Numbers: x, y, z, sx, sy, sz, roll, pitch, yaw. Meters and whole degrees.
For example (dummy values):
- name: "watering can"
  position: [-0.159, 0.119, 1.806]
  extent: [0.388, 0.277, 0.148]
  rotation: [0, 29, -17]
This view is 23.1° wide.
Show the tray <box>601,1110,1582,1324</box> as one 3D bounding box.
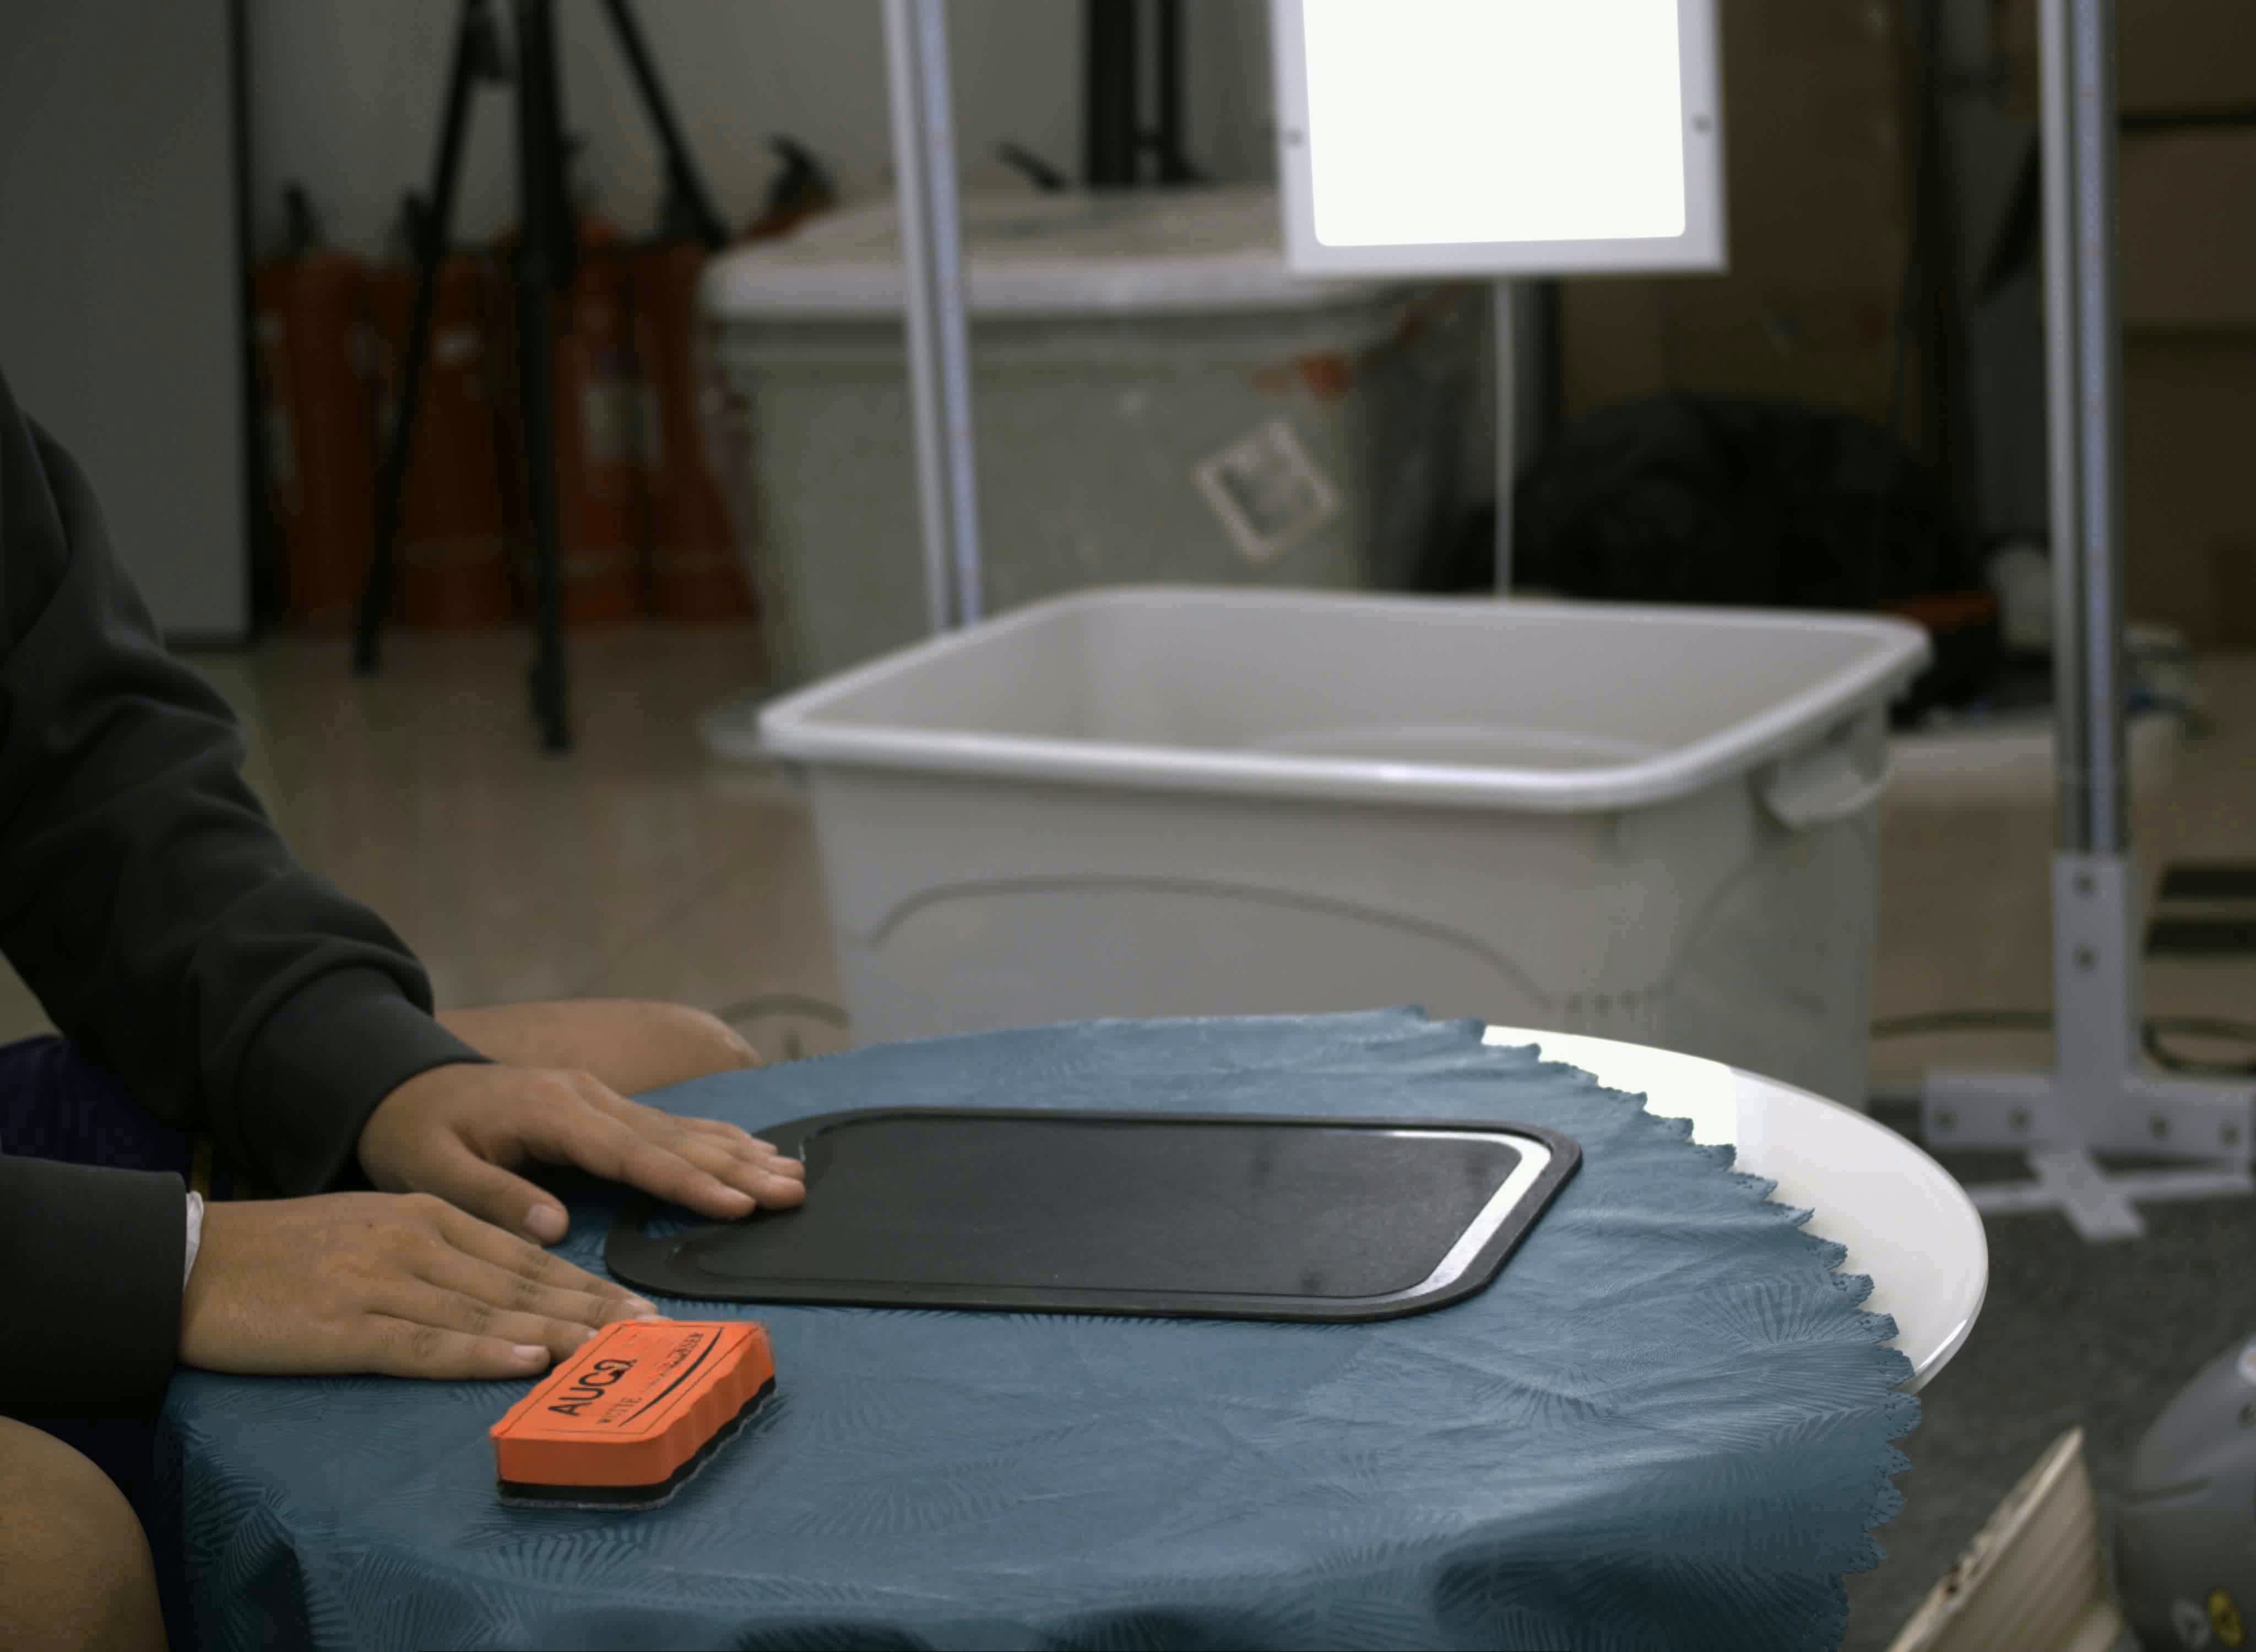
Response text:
- name: "tray"
  position: [-0.018, 0.129, 1.880]
  extent: [0.330, 0.010, 0.207]
  rotation: [0, 14, 21]

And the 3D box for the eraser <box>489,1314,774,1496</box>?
- name: "eraser"
  position: [-0.151, 0.176, 1.688]
  extent: [0.059, 0.023, 0.106]
  rotation: [0, 13, 18]
